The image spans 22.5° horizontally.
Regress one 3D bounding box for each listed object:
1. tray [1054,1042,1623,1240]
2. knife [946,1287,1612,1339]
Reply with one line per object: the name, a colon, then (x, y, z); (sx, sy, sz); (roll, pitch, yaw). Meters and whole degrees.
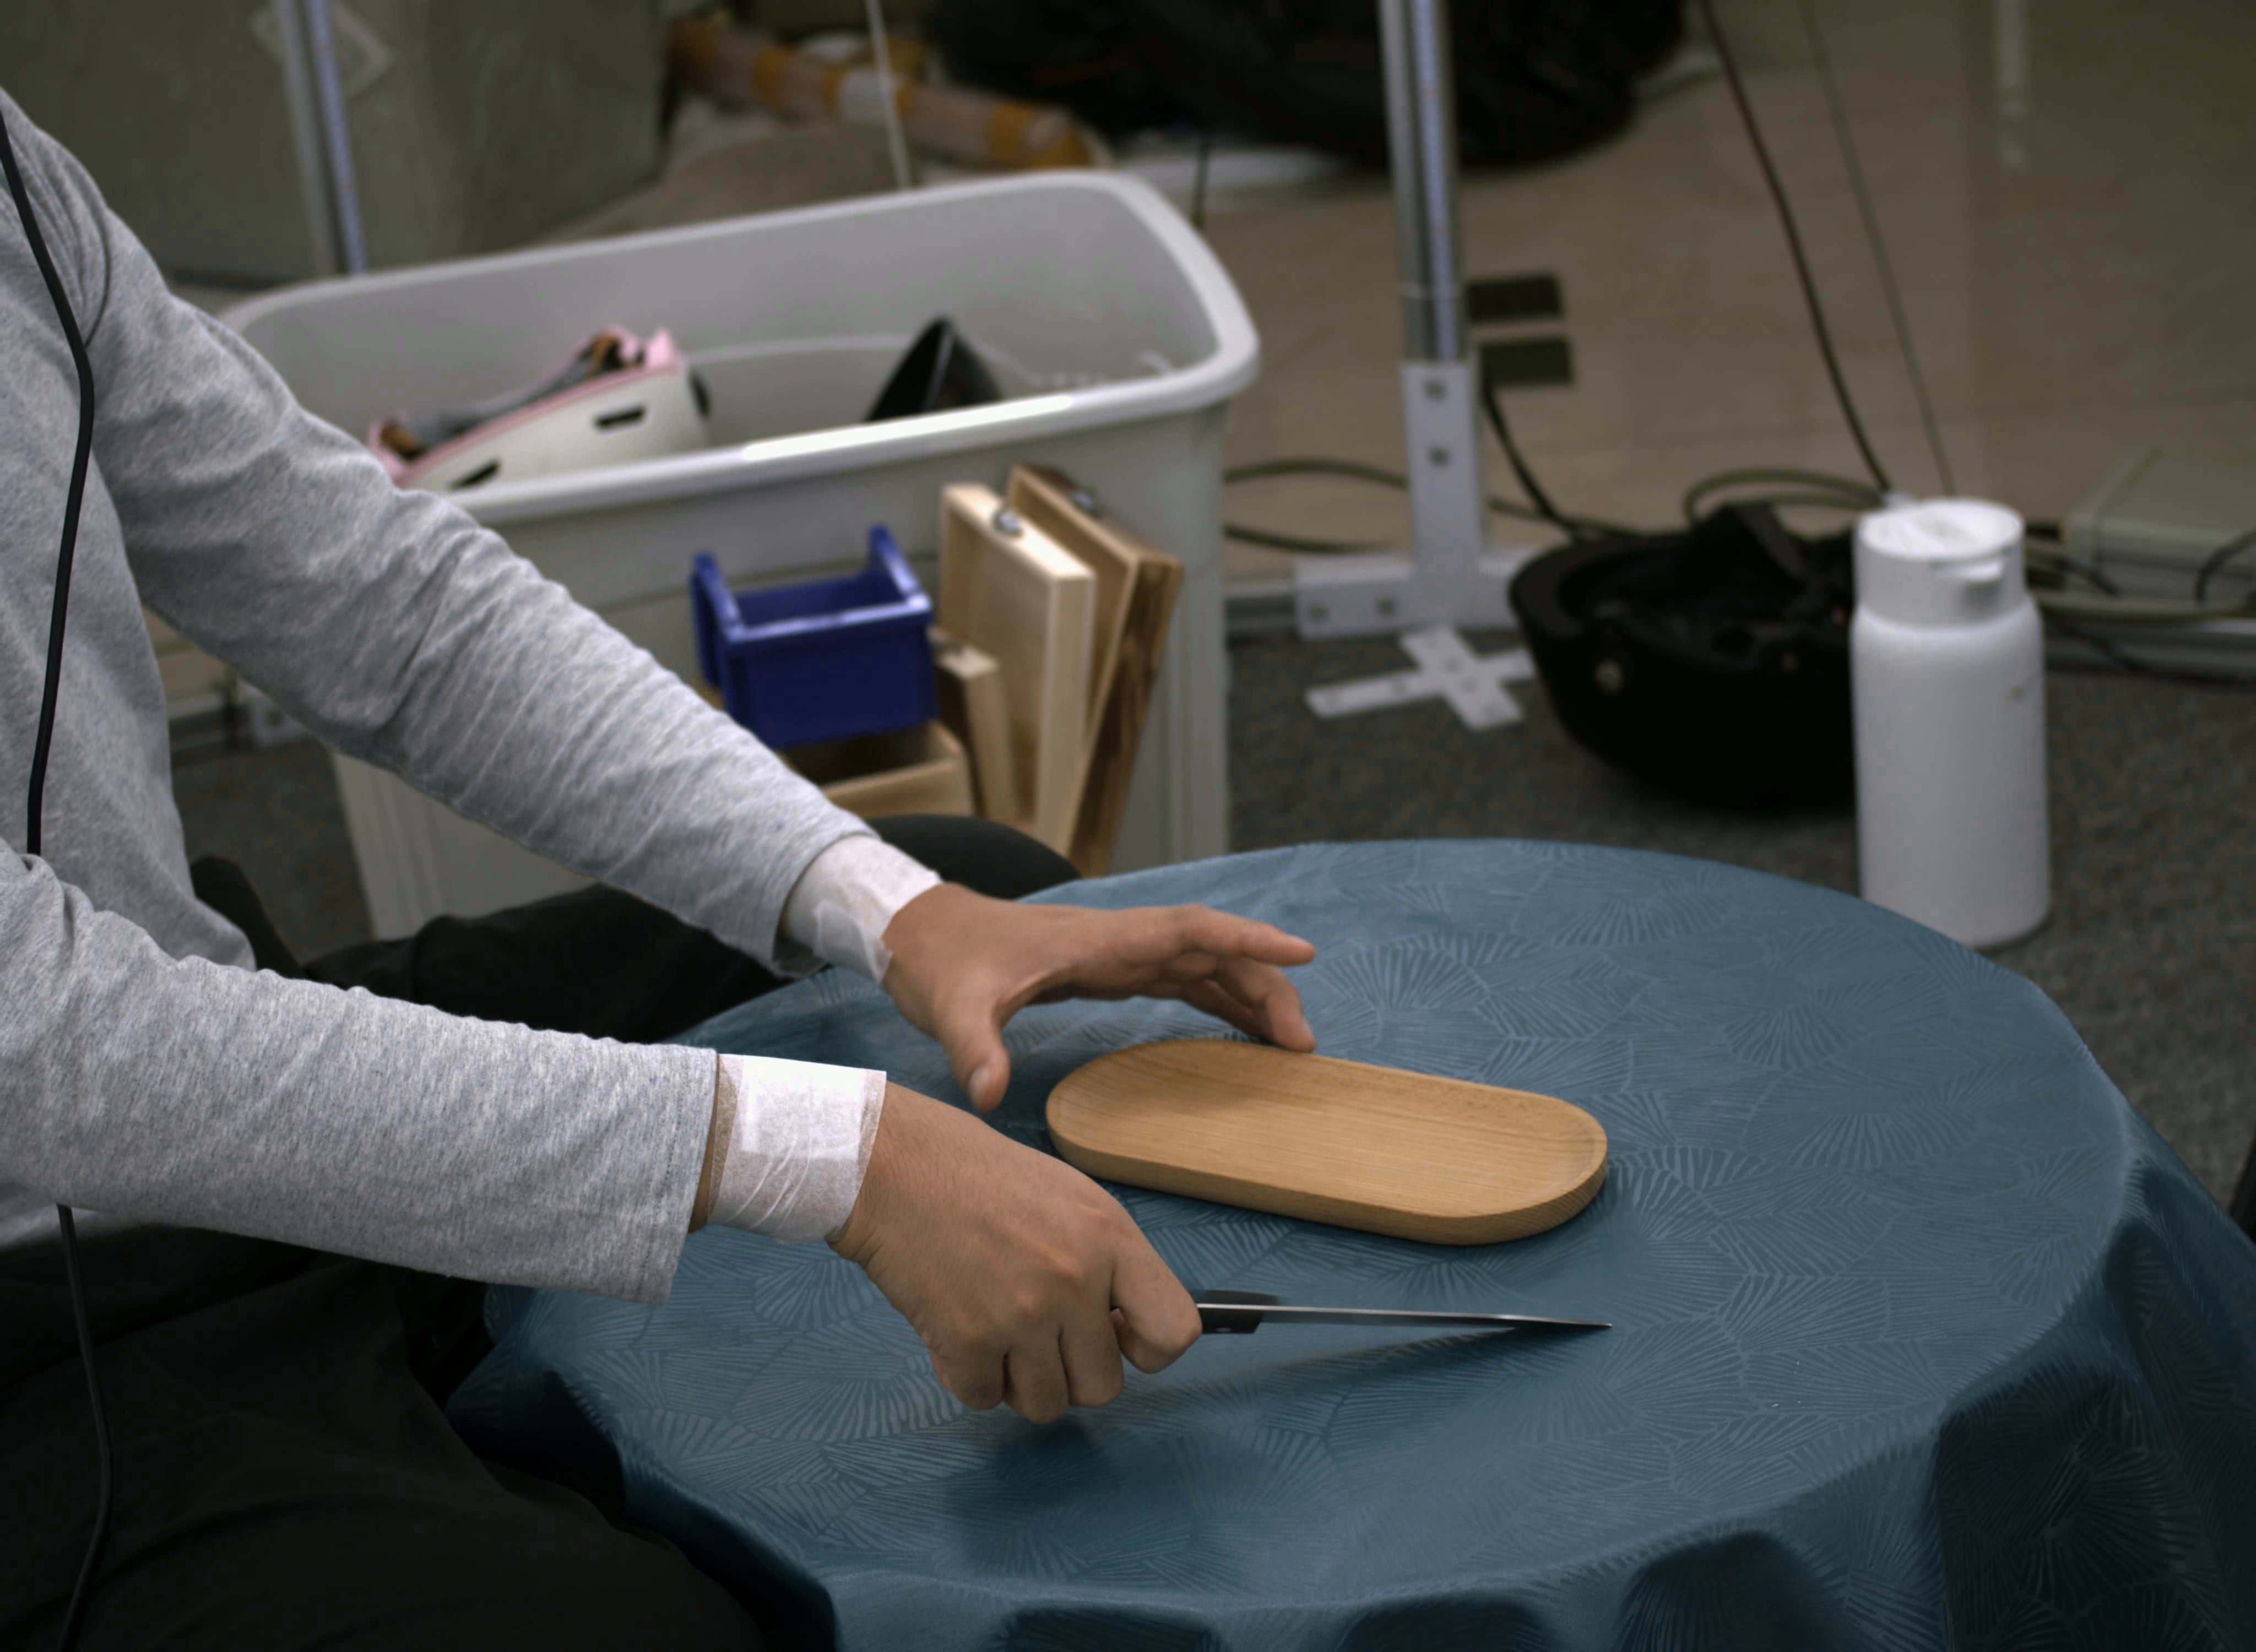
tray: (0.078, 0.119, 2.157); (0.230, 0.020, 0.100); (9, 29, 28)
knife: (0.055, 0.175, 2.012); (0.238, 0.016, 0.025); (3, -16, -6)
